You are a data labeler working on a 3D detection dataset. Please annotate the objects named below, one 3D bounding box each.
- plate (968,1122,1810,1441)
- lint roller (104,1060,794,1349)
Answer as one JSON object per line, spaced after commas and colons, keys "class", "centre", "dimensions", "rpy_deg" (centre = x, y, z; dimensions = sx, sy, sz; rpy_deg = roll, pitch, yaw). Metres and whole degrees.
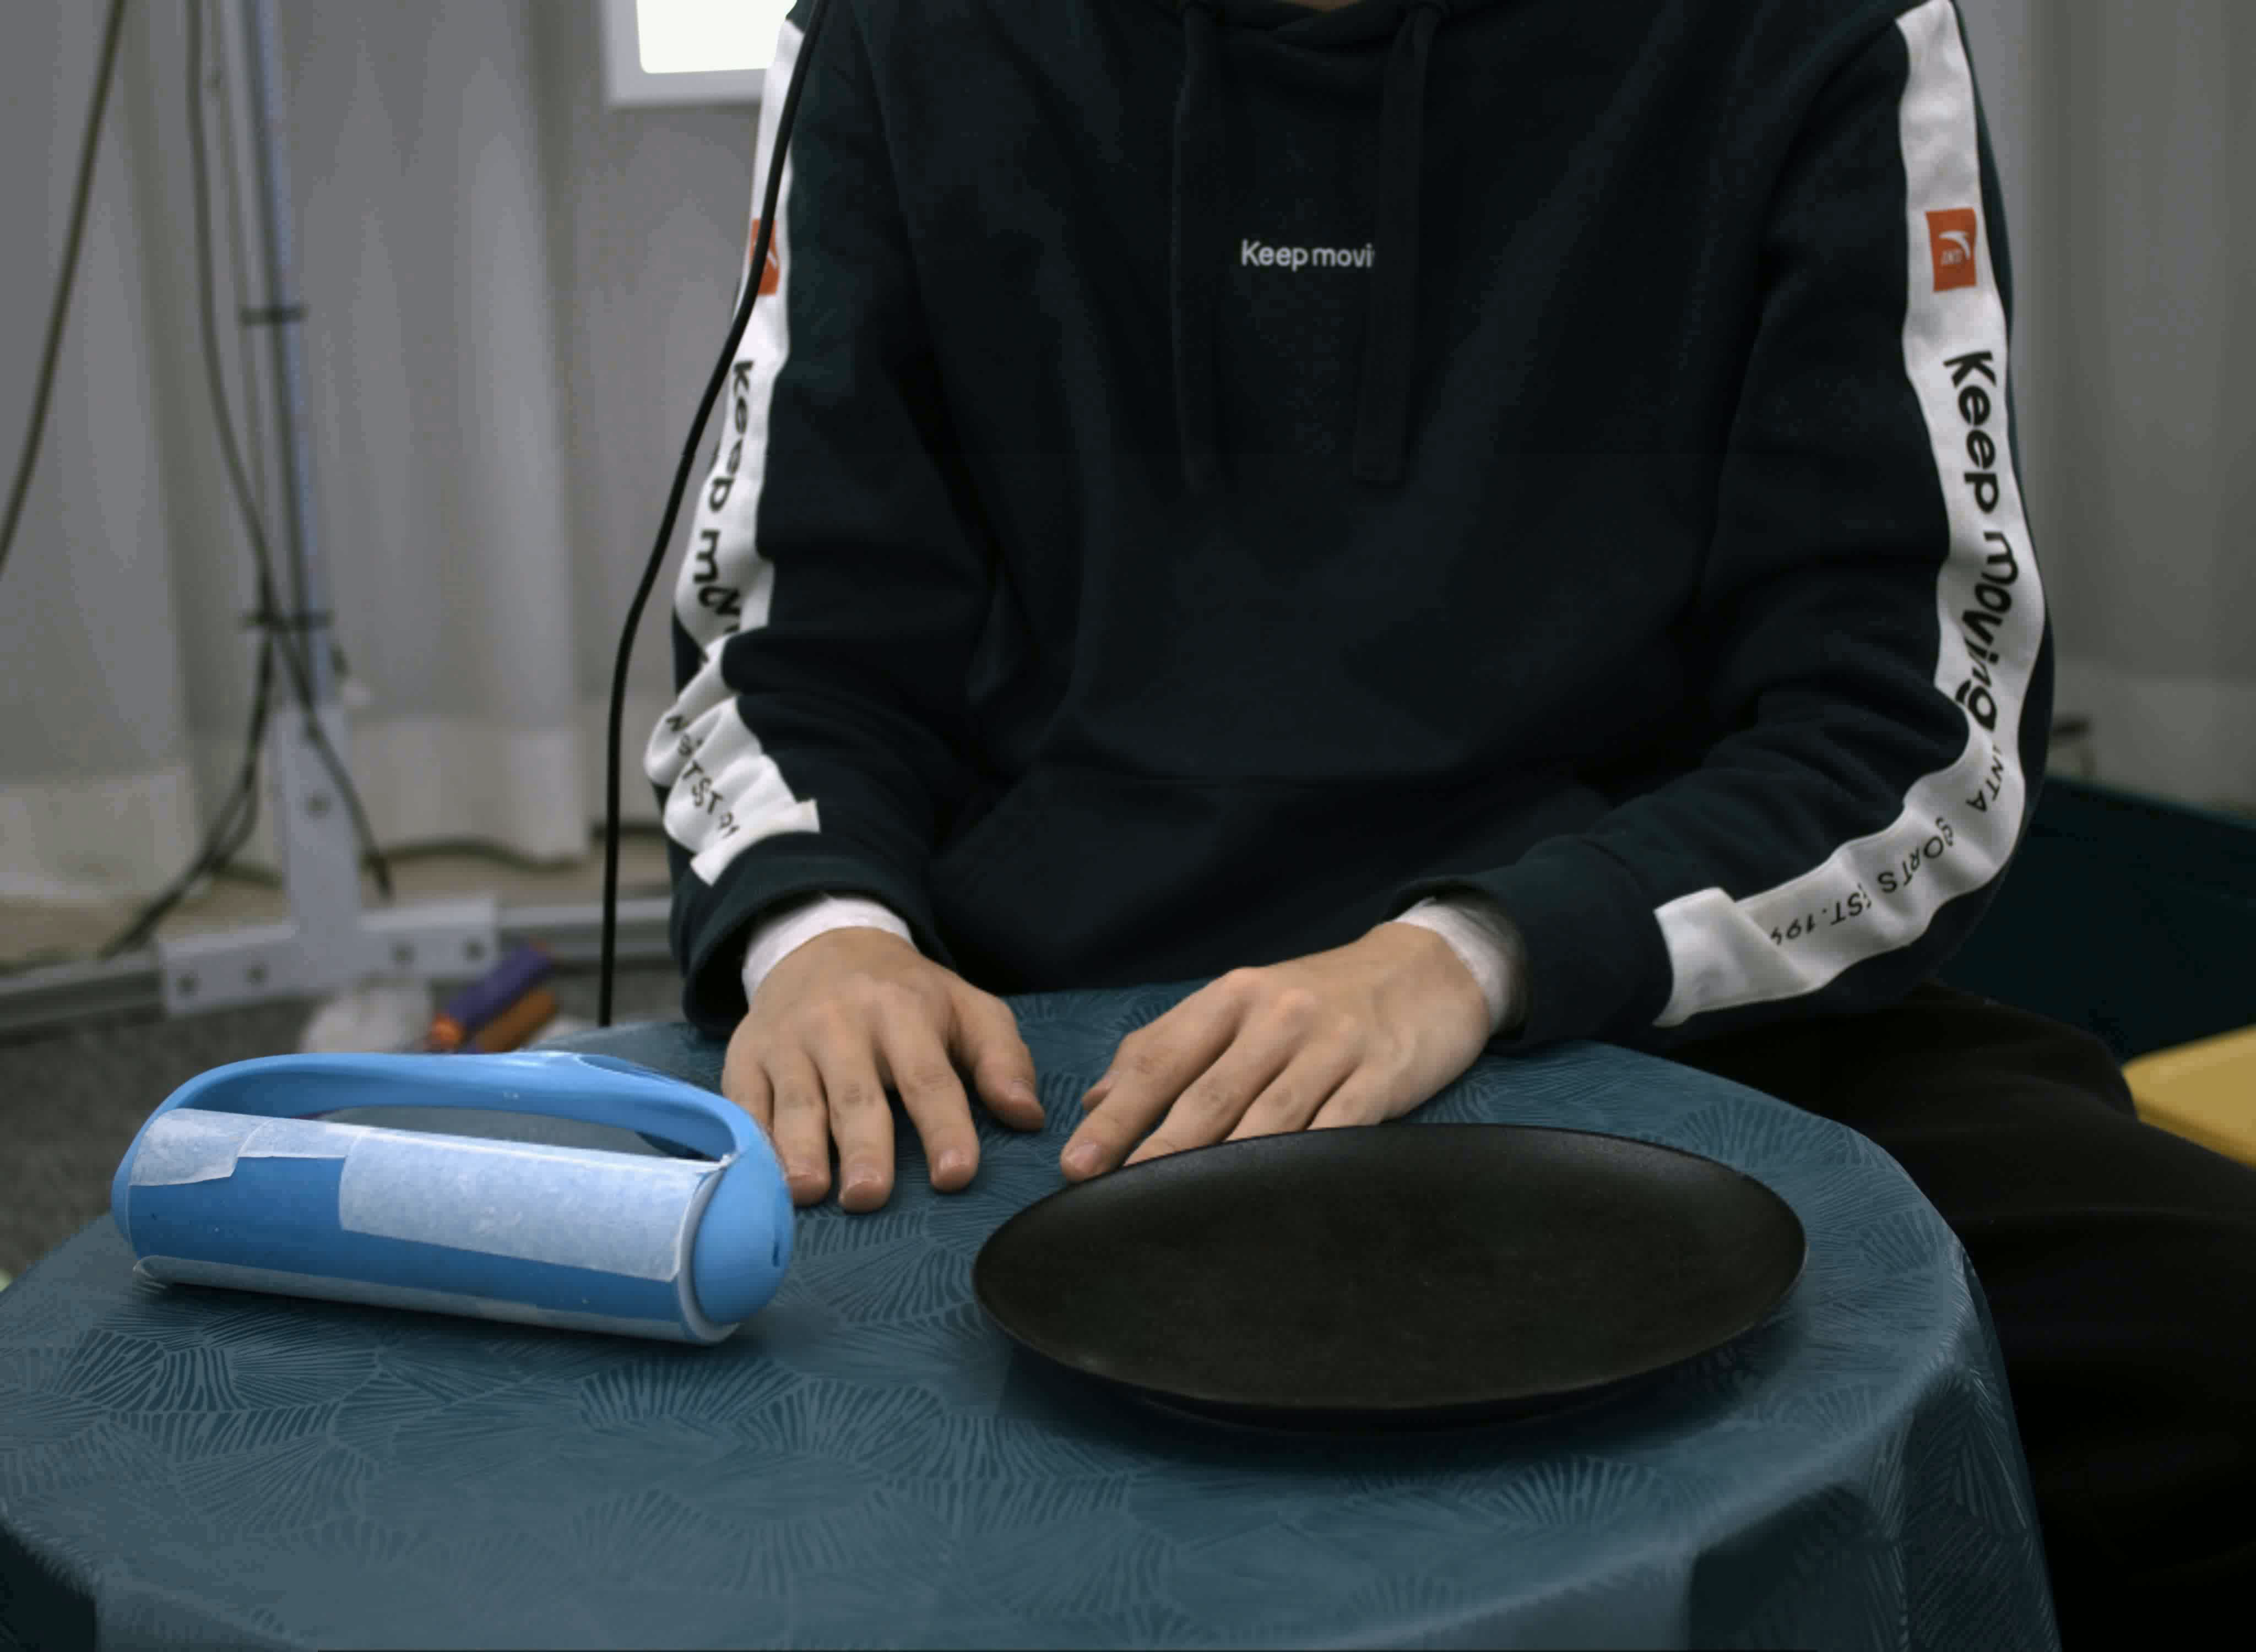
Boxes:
{"class": "plate", "centre": [0.075, 0.134, 1.581], "dimensions": [0.243, 0.023, 0.246], "rpy_deg": [-3, 15, 0]}
{"class": "lint roller", "centre": [-0.184, 0.103, 1.685], "dimensions": [0.229, 0.067, 0.181], "rpy_deg": [2, 16, 22]}
